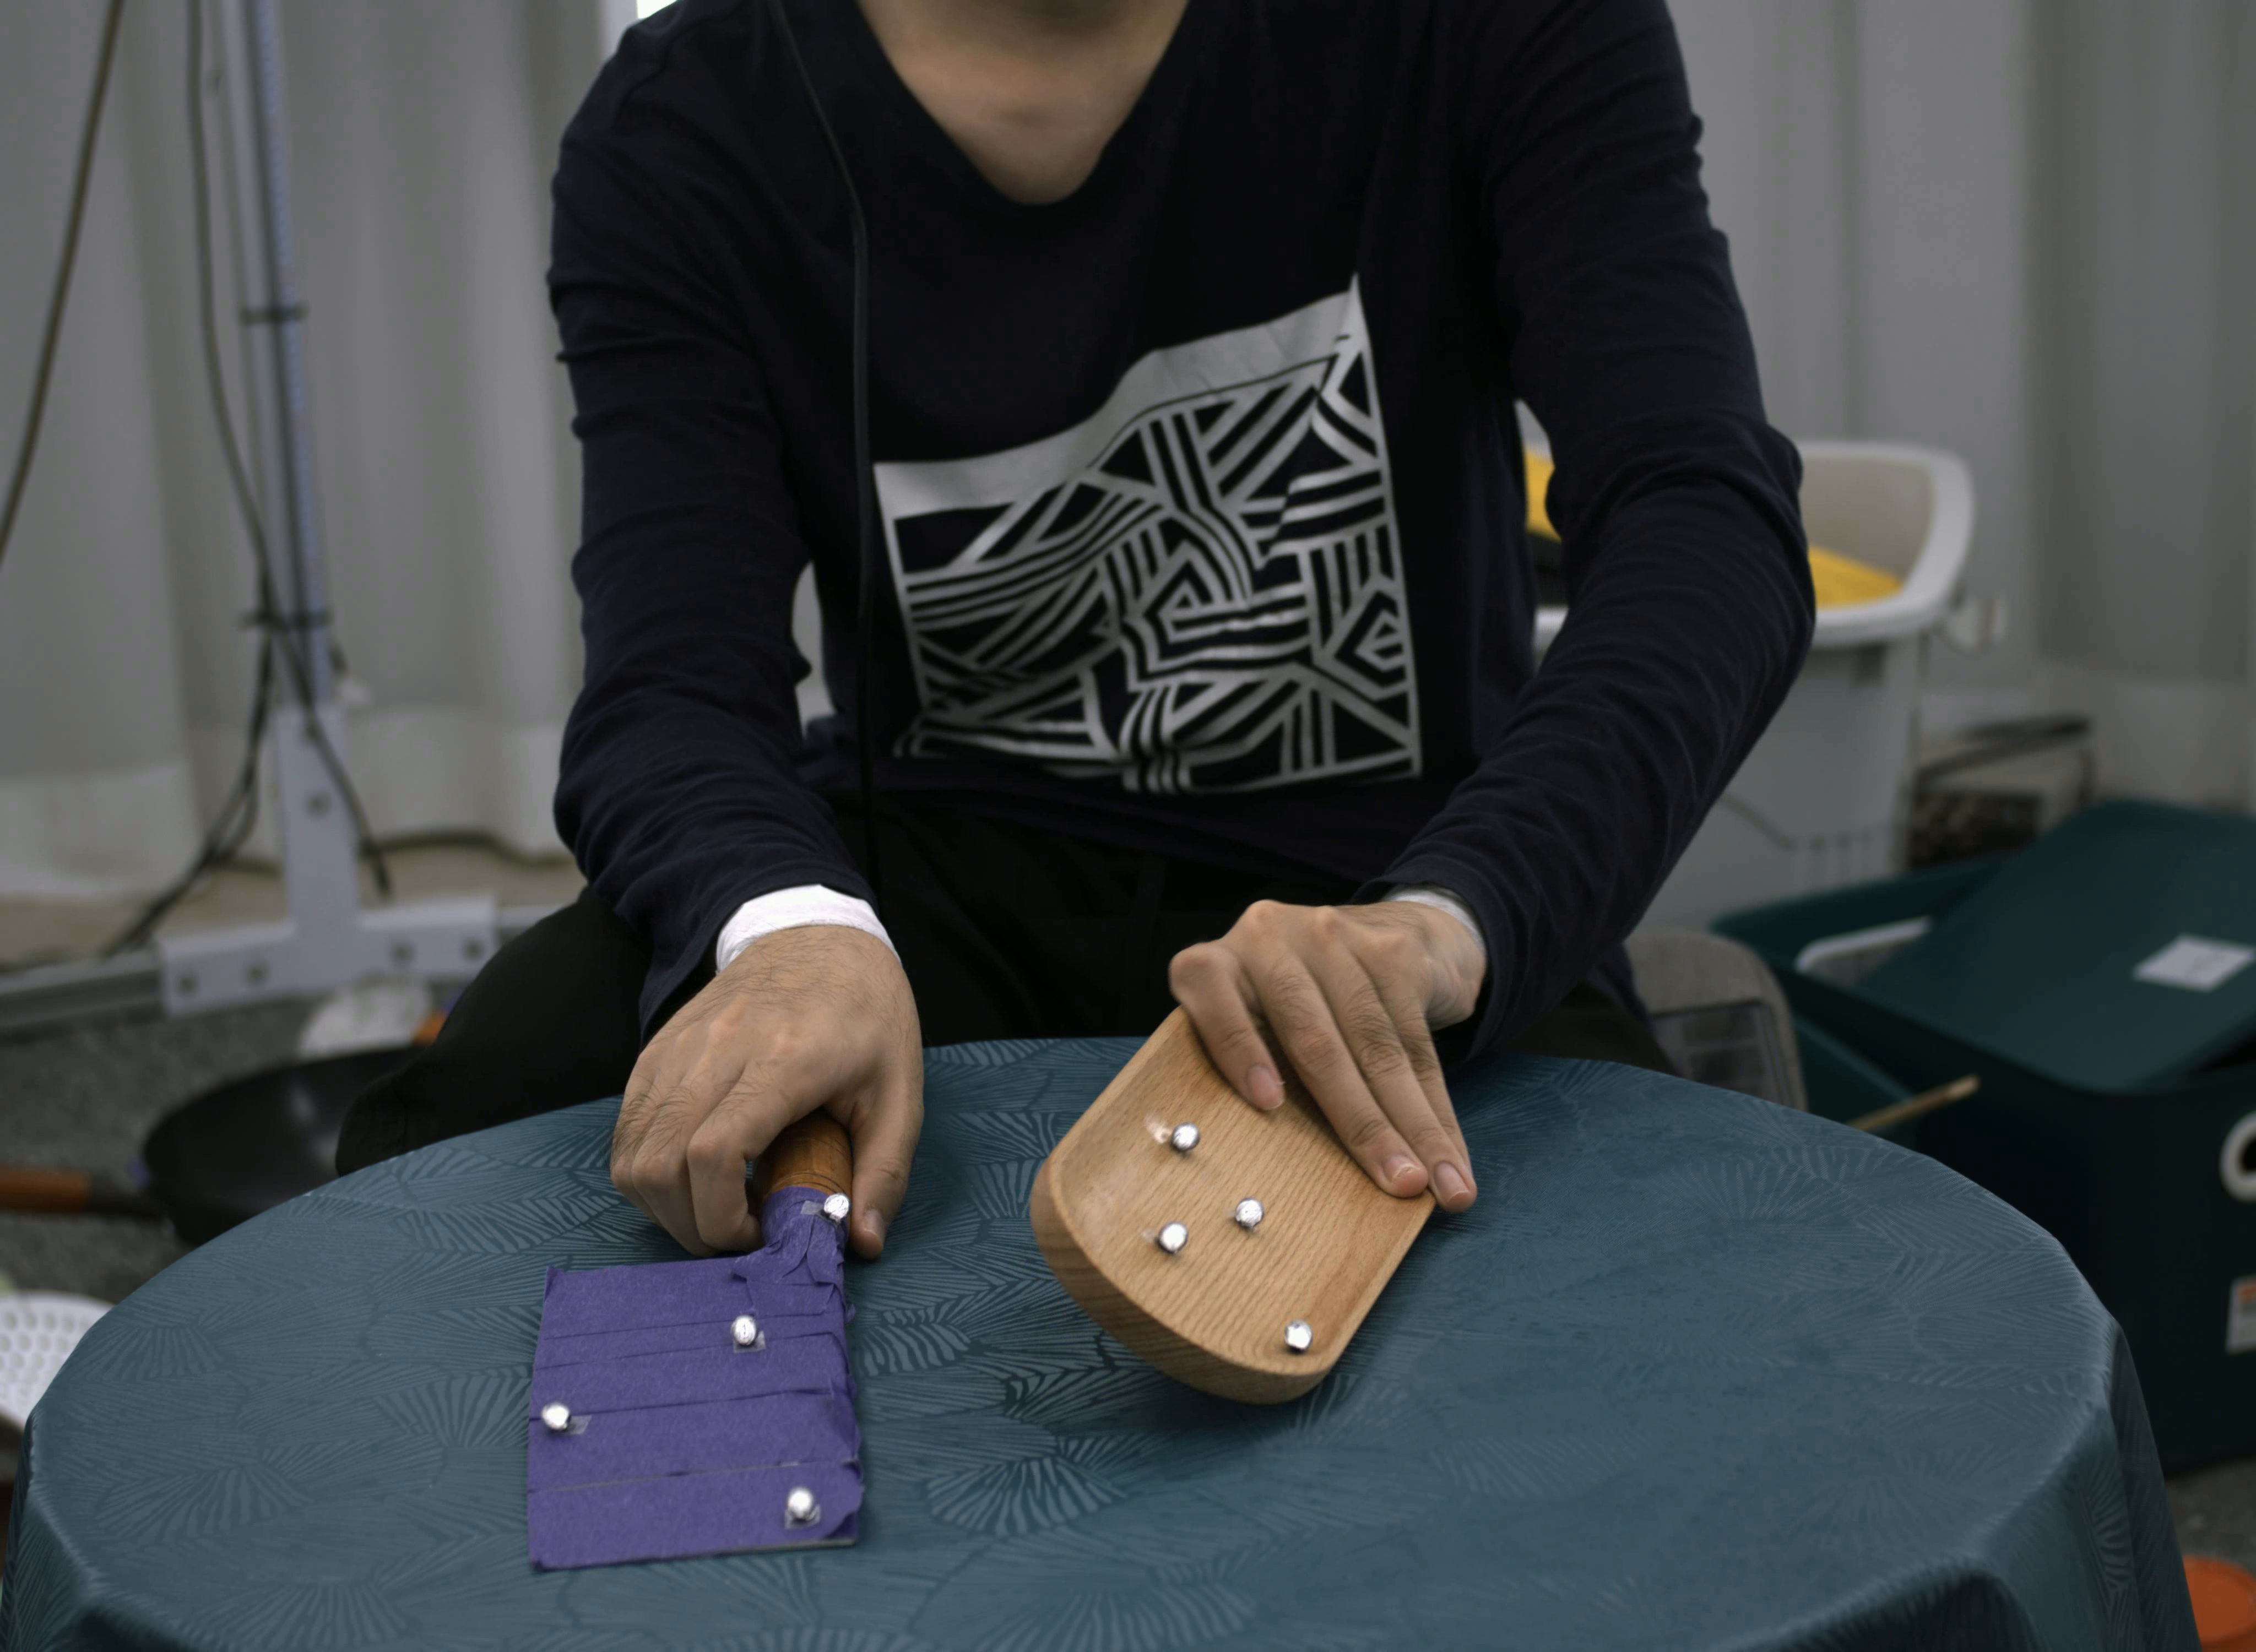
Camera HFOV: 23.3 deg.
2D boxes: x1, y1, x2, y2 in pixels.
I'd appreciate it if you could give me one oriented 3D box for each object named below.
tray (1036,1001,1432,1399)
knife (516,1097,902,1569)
[{"bbox_3d":[0.032,0.108,1.608,0.101,0.020,0.232,36,19,2],"label":"tray"},{"bbox_3d":[-0.124,0.142,1.584,0.103,0.032,0.317,-4,15,-4],"label":"knife"}]
